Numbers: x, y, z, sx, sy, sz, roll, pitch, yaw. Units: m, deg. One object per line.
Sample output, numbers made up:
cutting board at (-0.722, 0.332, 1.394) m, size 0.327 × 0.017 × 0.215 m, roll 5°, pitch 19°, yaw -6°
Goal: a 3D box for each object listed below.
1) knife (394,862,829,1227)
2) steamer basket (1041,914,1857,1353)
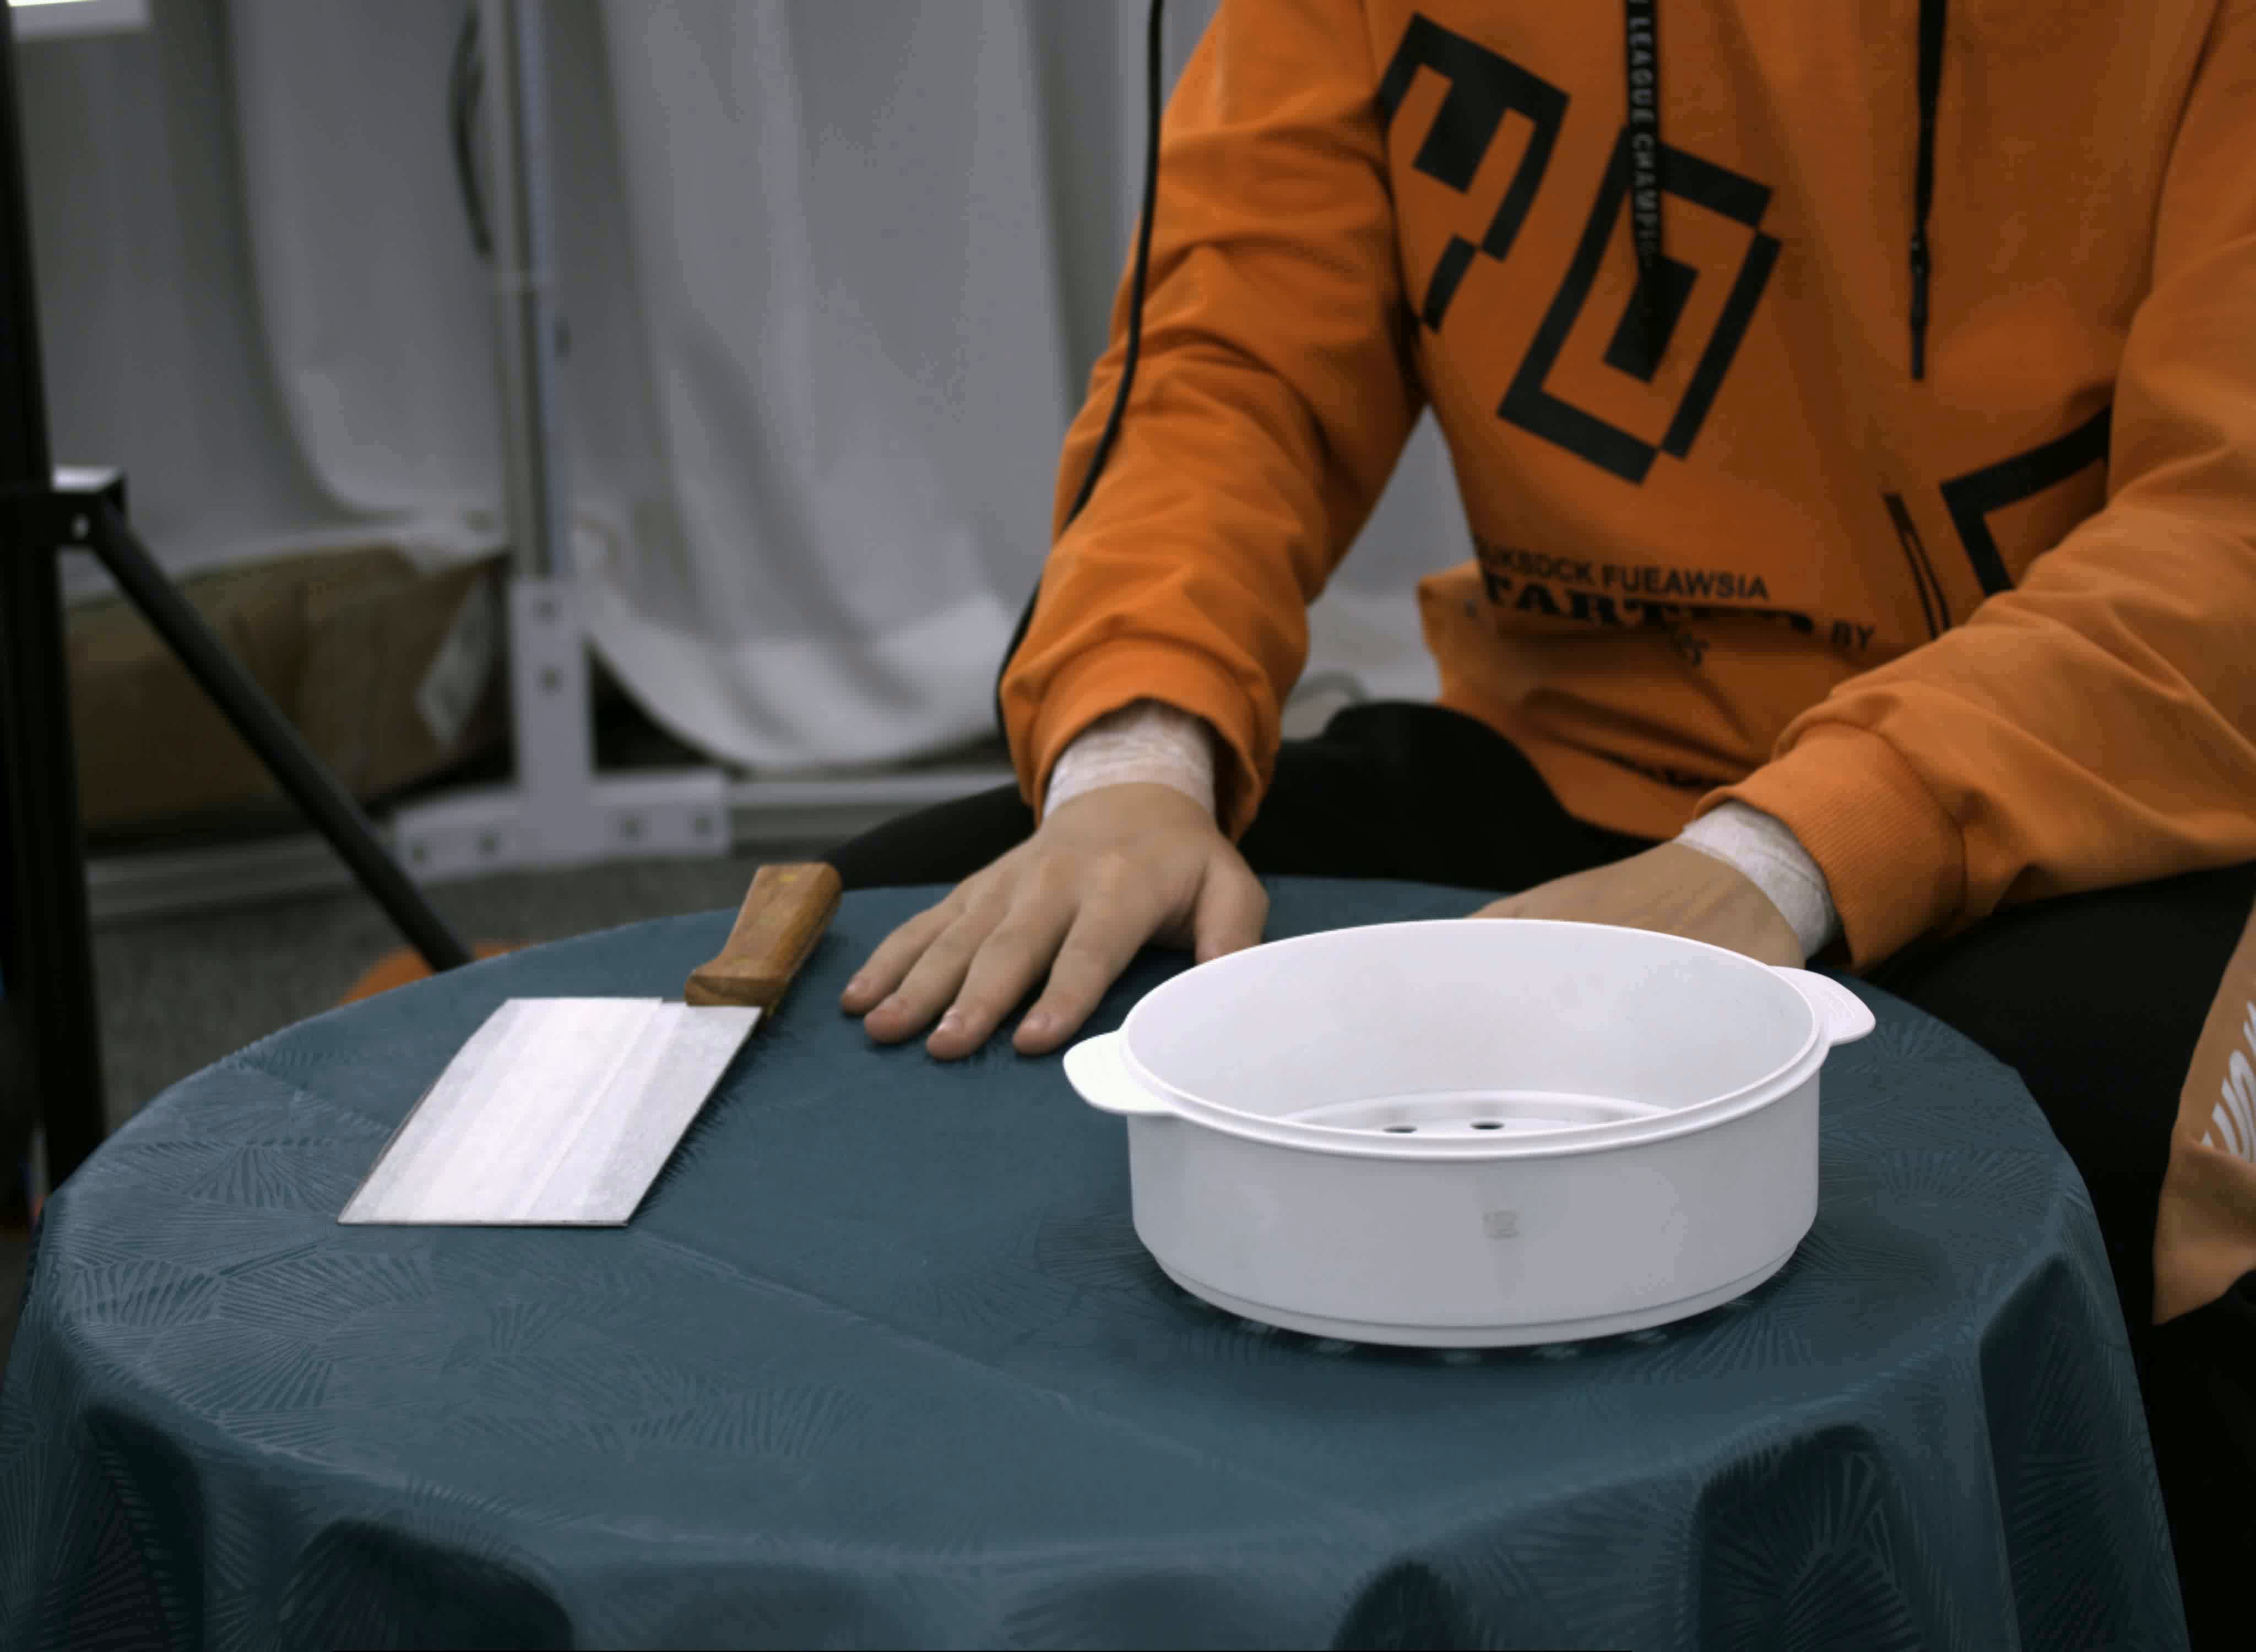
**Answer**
knife at (-0.163, 0.068, 1.699) m, size 0.093 × 0.021 × 0.305 m, roll -1°, pitch 18°, yaw 10°
steamer basket at (0.092, 0.086, 1.489) m, size 0.228 × 0.069 × 0.204 m, roll -8°, pitch 16°, yaw -9°
